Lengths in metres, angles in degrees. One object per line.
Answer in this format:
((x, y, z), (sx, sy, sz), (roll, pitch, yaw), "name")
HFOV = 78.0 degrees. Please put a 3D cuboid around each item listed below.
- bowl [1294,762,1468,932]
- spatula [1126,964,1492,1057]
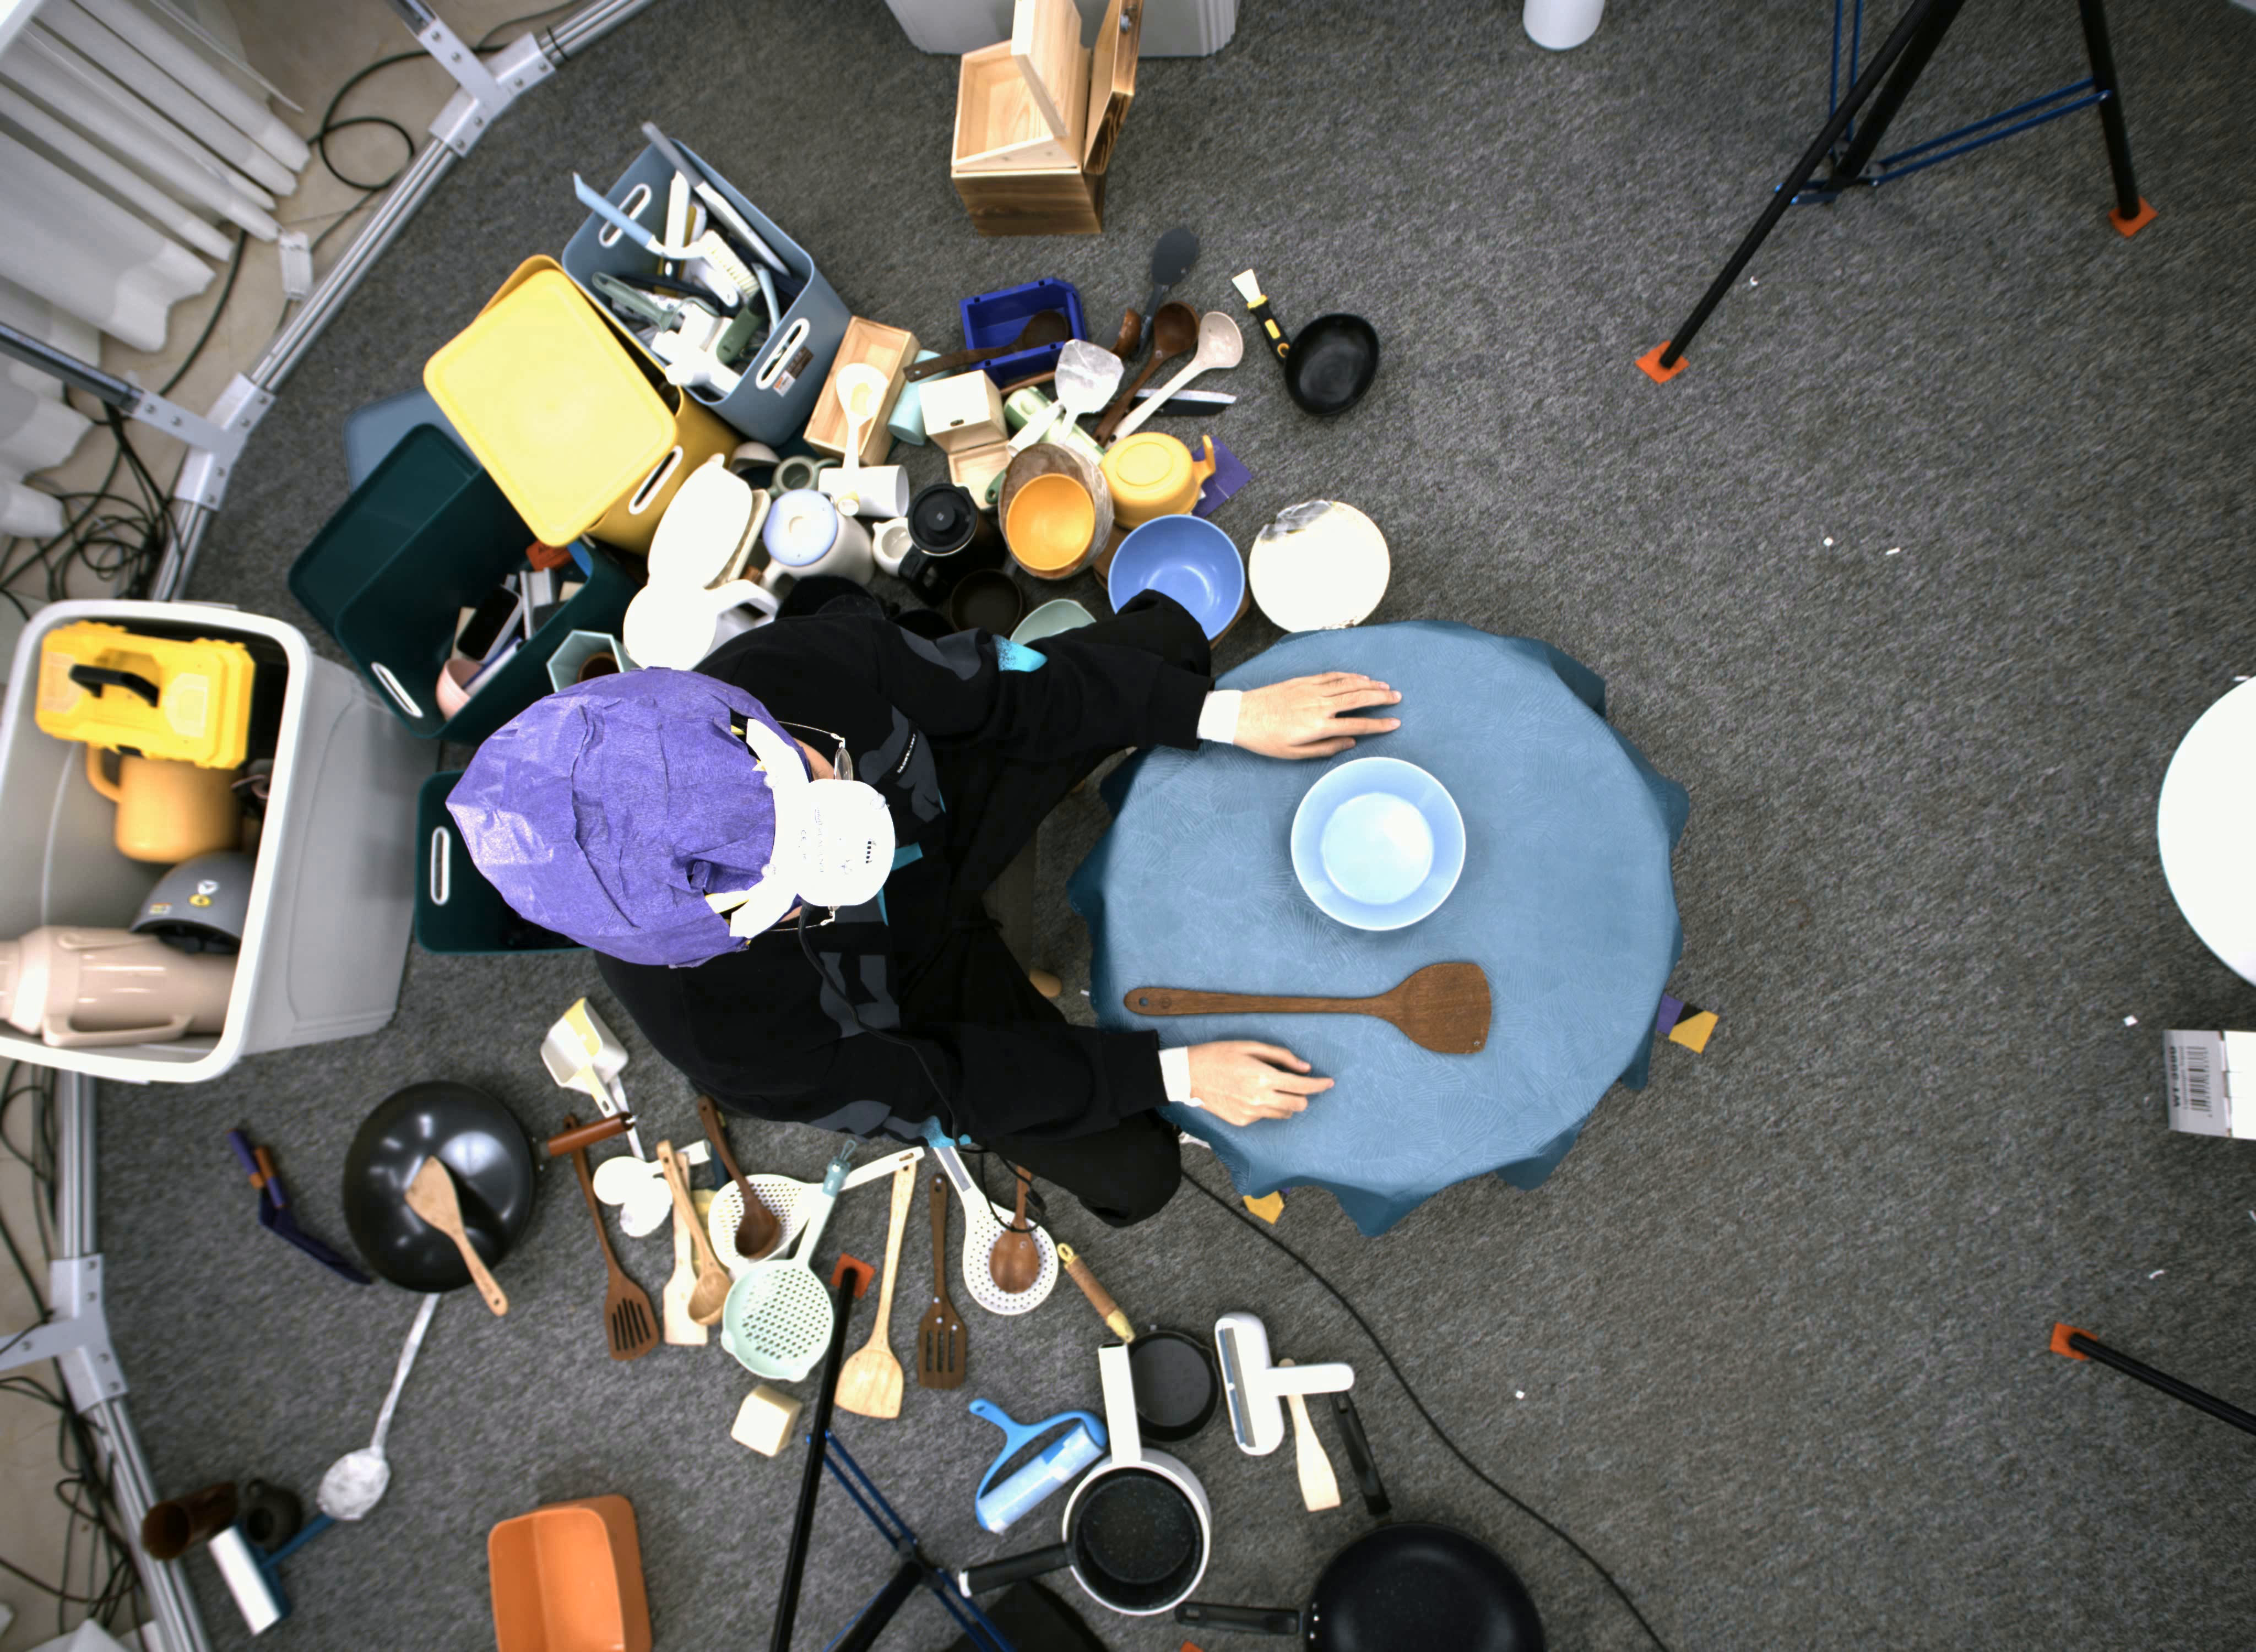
((0.263, 0.023, 1.434), (0.177, 0.070, 0.175), (-1, 85, 12), "bowl")
((0.188, 0.191, 1.465), (0.387, 0.016, 0.095), (0, 85, 10), "spatula")
